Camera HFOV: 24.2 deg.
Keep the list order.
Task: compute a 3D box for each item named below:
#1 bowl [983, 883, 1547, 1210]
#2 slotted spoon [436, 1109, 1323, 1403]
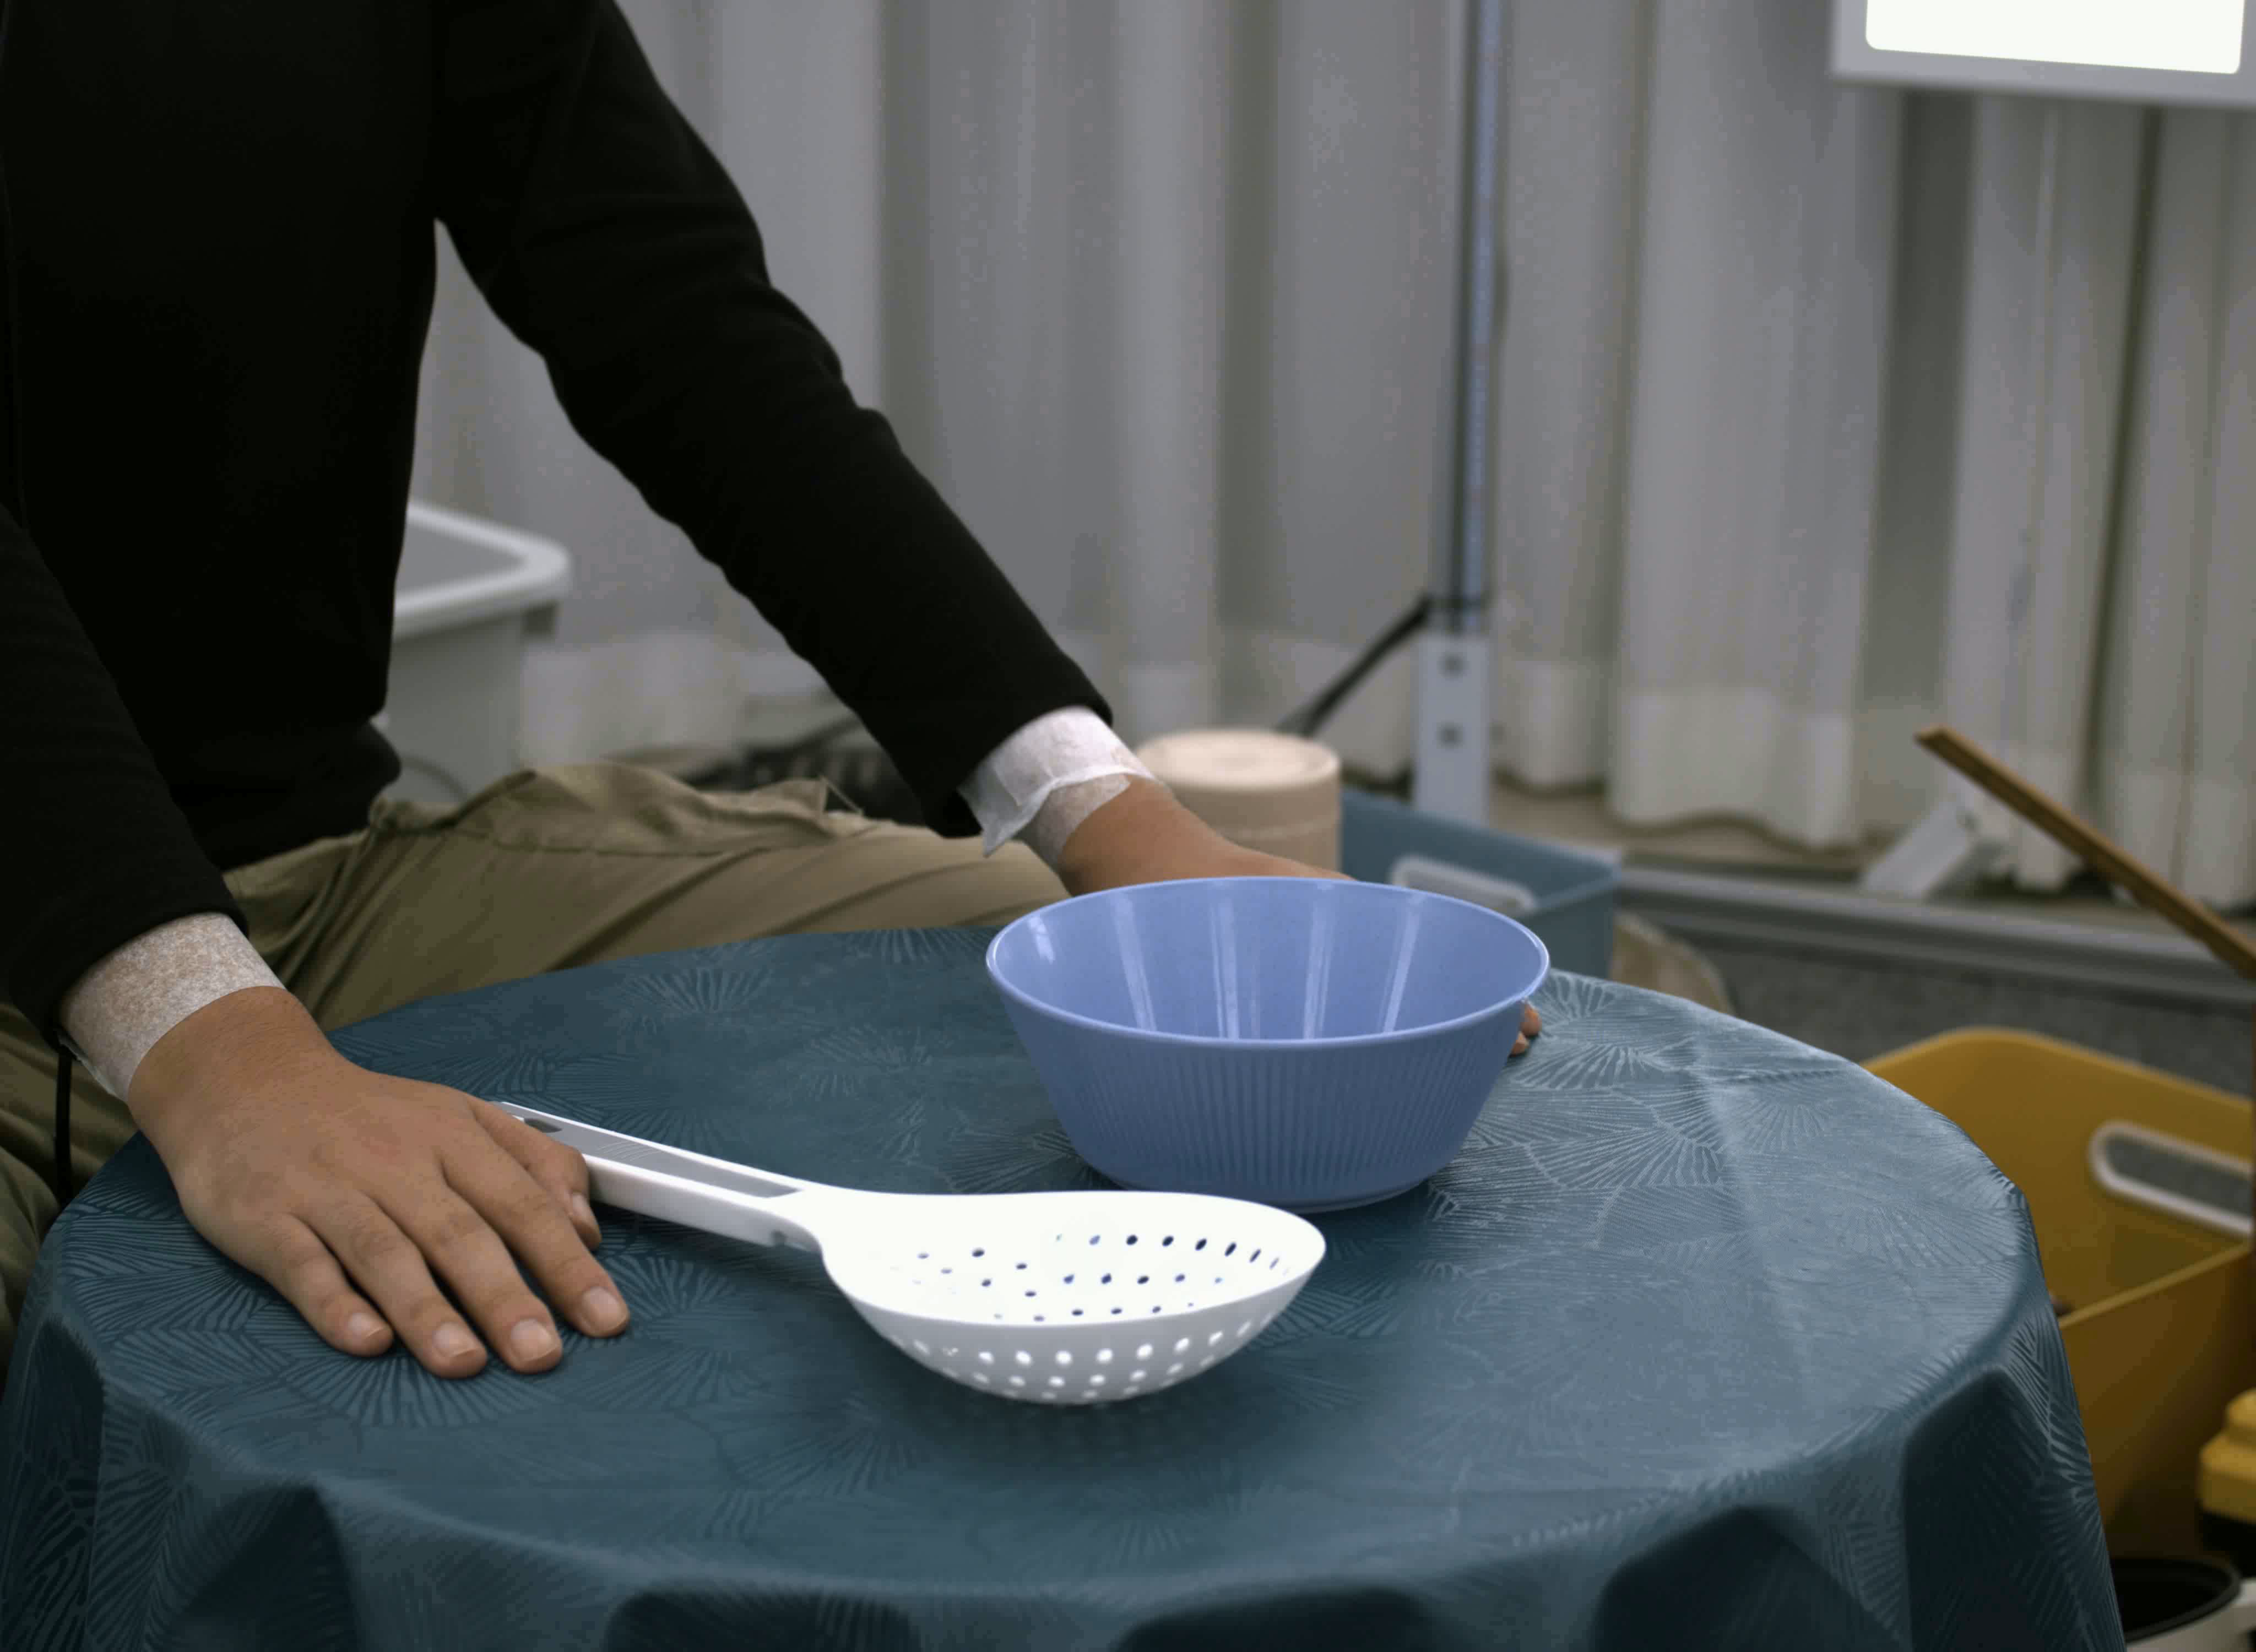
[{"bbox_3d":[0.043,0.071,1.642,0.175,0.071,0.175,0,15,1],"label":"bowl"},{"bbox_3d":[-0.088,0.114,1.526,0.137,0.046,0.345,-14,20,-43],"label":"slotted spoon"}]
